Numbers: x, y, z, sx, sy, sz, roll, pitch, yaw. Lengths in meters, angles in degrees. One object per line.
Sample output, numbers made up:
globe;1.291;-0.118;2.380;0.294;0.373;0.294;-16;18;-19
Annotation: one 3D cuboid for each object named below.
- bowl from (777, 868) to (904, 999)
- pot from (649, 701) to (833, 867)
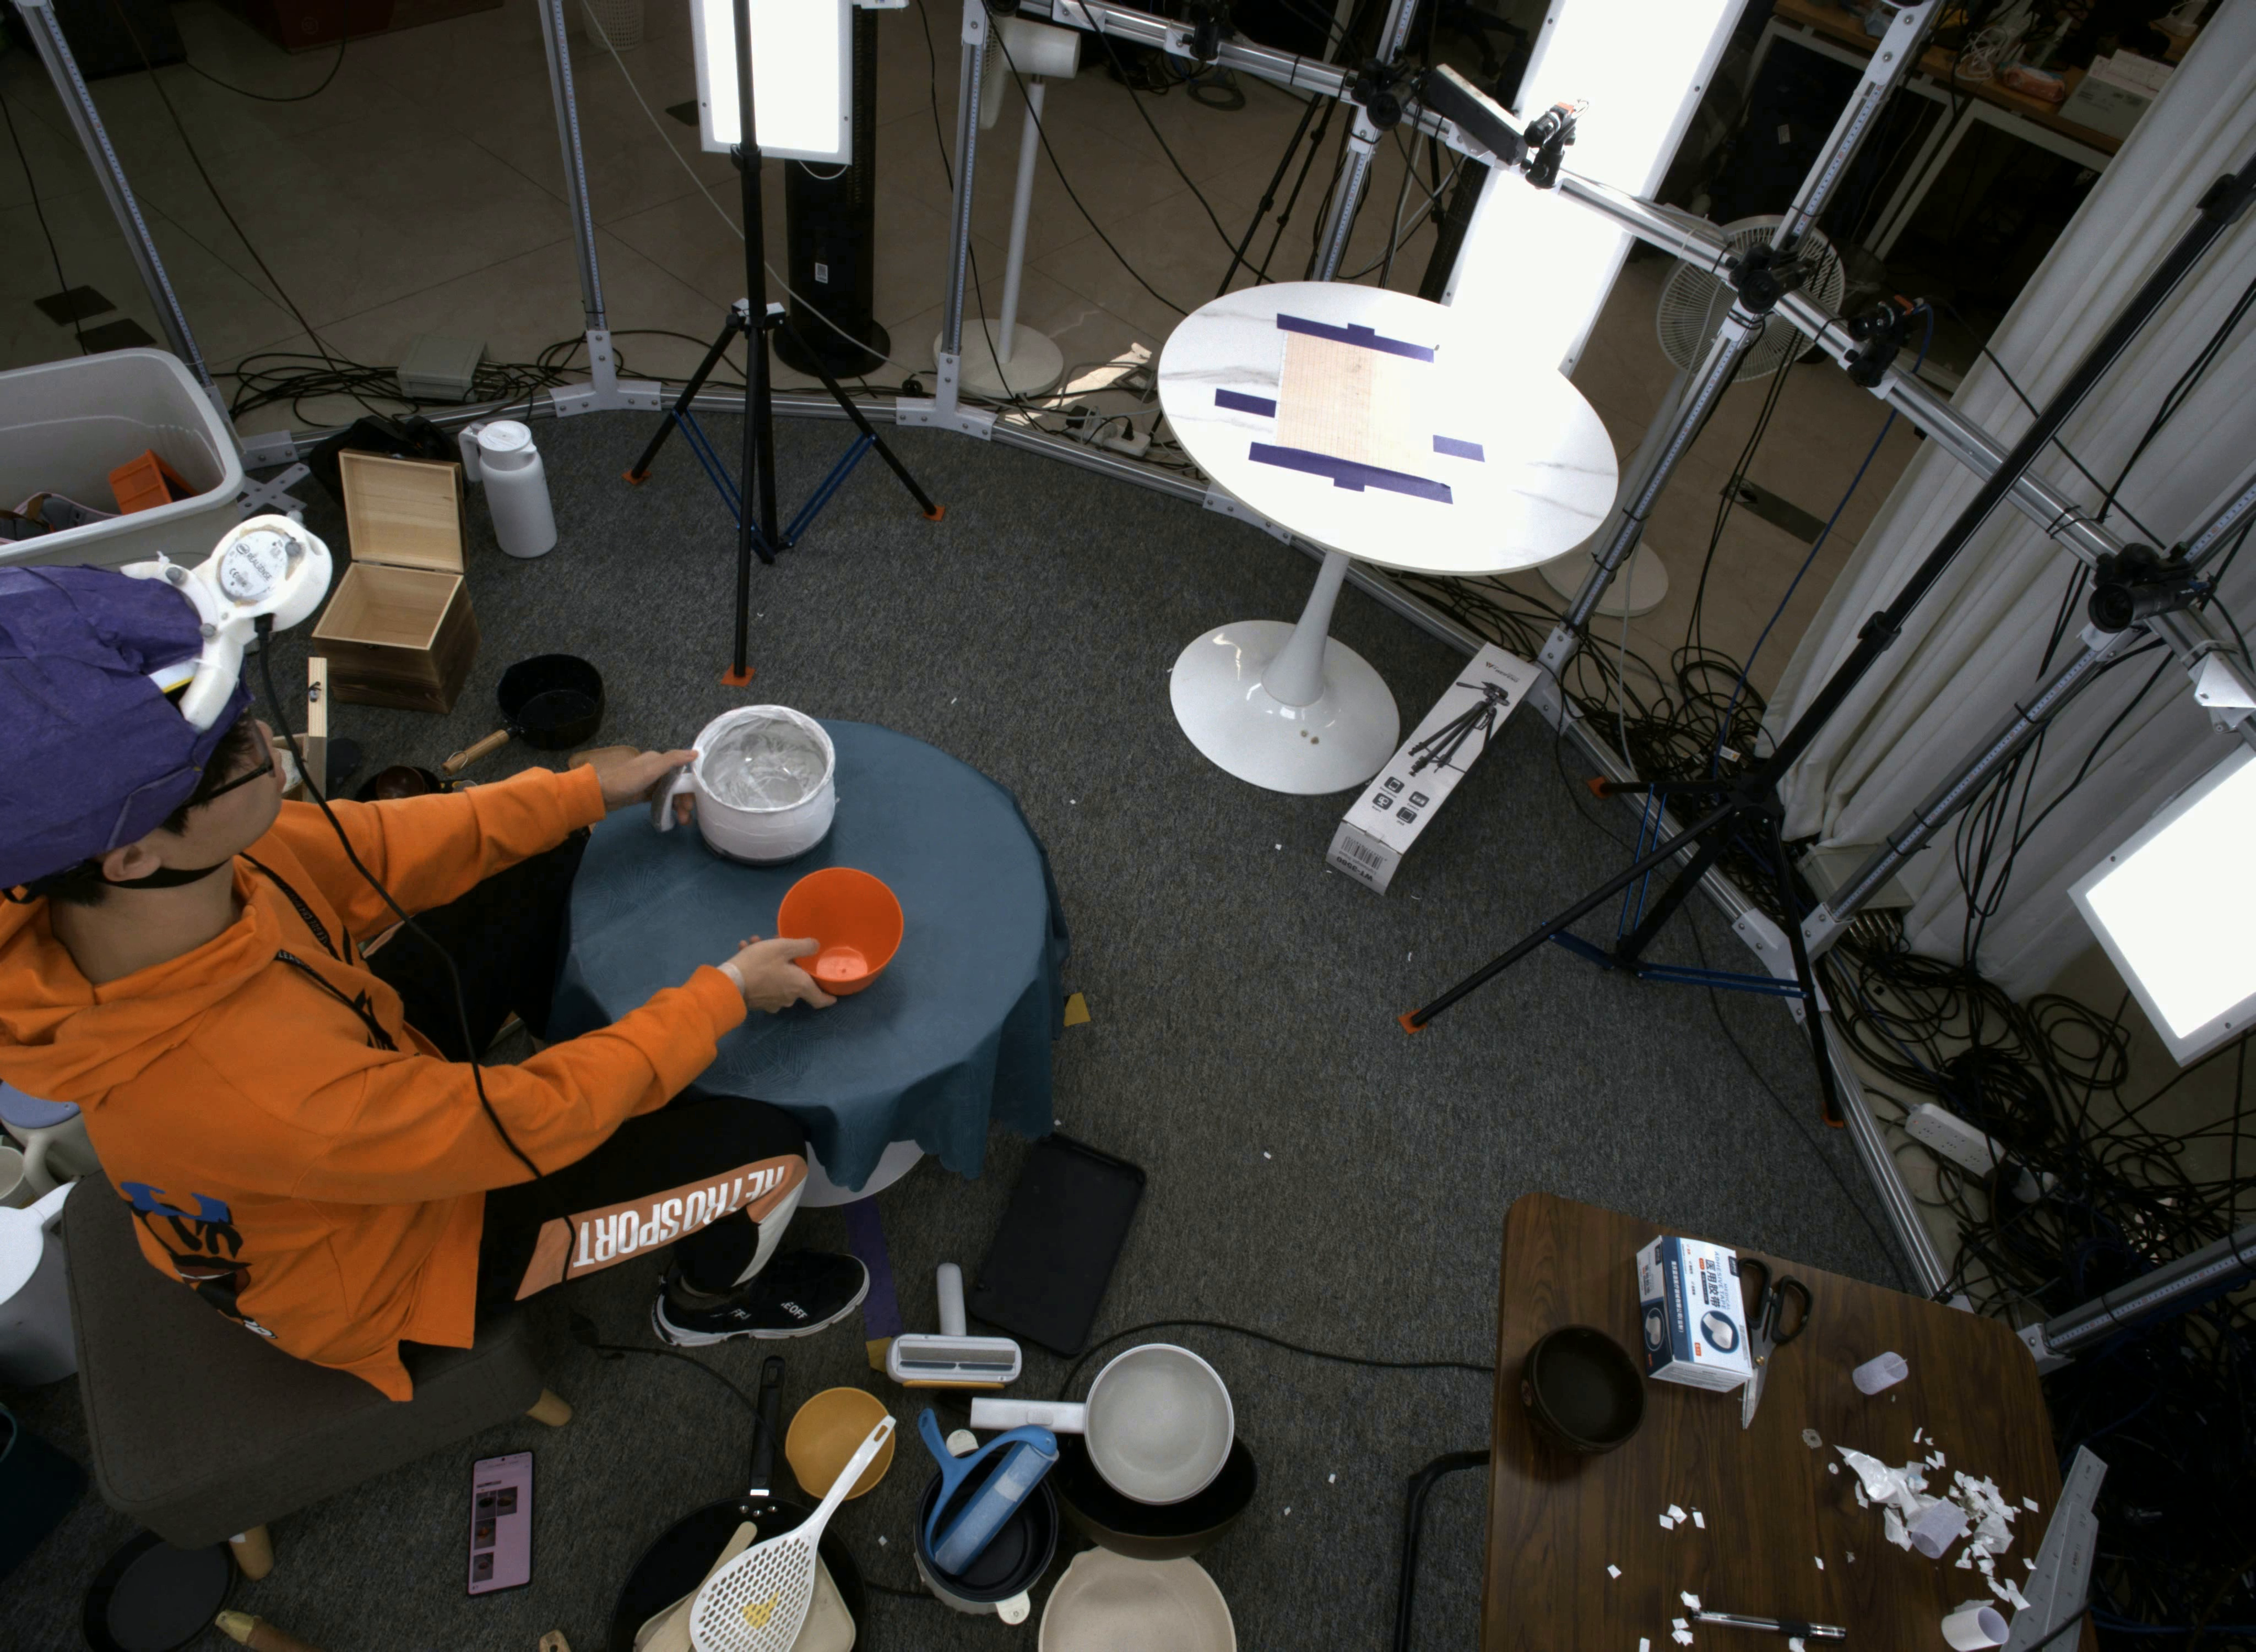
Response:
bowl;-0.346;0.140;1.567;0.148;0.107;0.145;8;51;-9
pot;-0.492;-0.045;1.641;0.235;0.139;0.174;-9;55;-20
